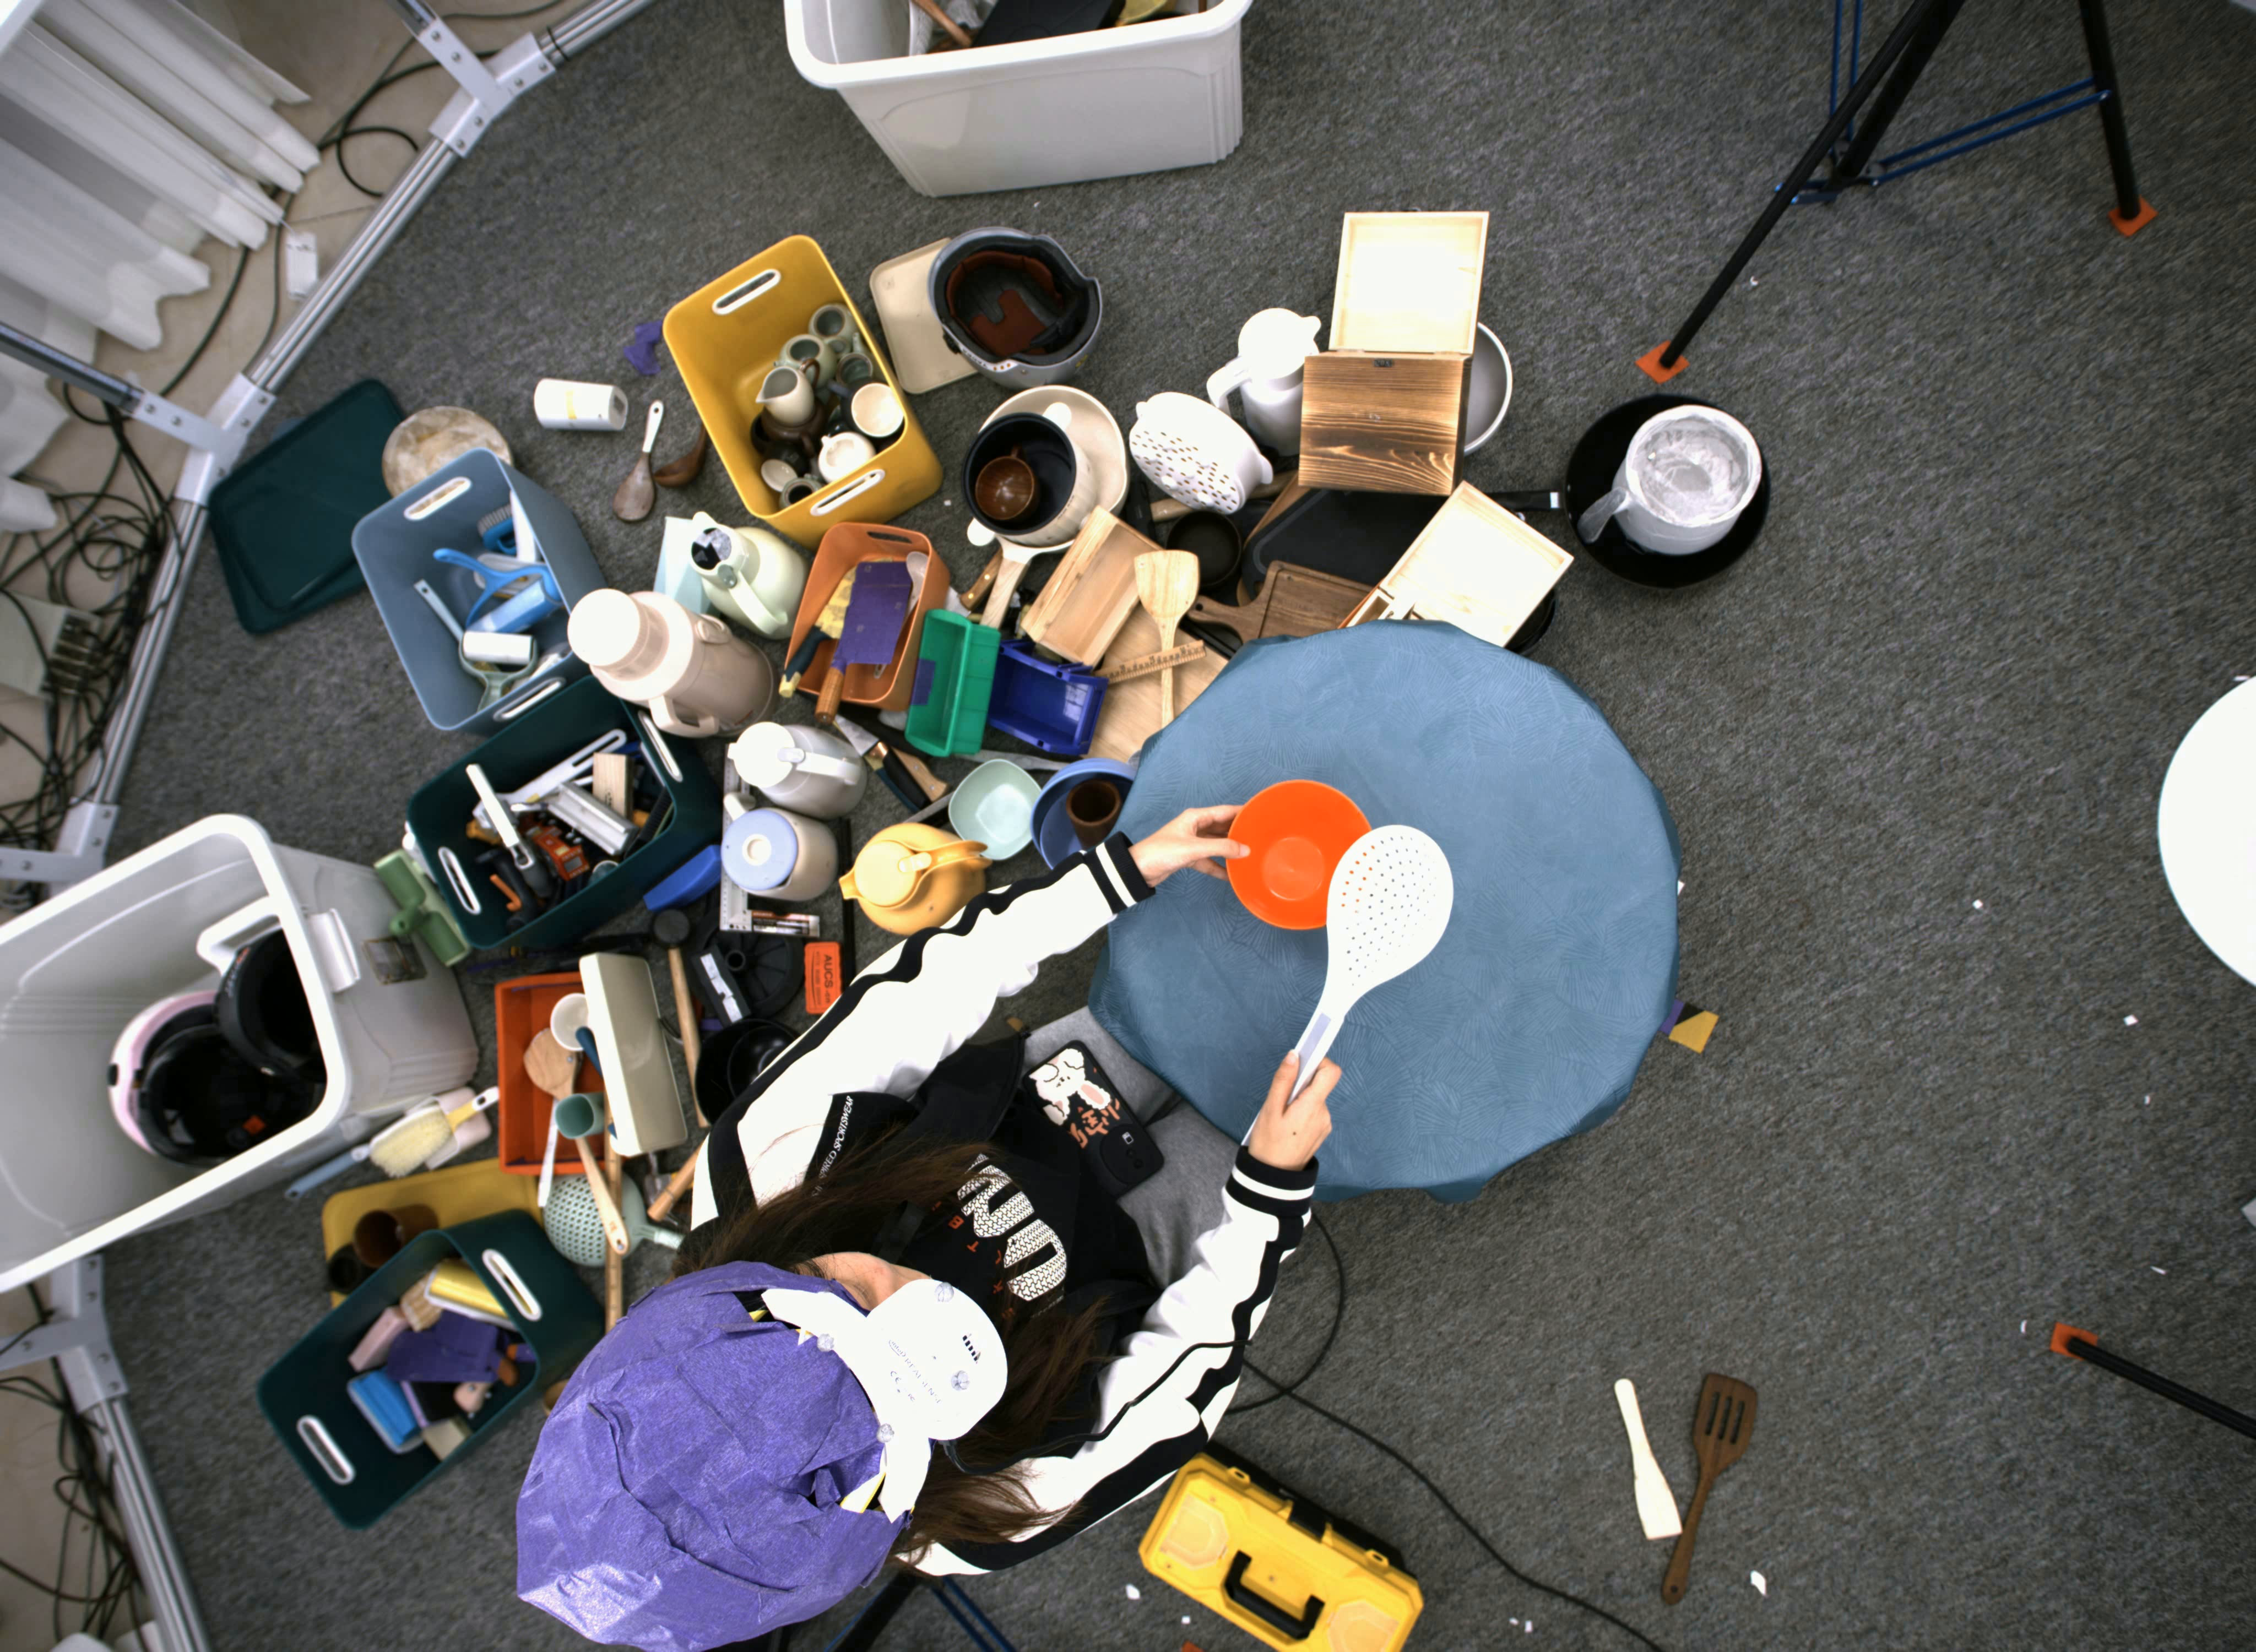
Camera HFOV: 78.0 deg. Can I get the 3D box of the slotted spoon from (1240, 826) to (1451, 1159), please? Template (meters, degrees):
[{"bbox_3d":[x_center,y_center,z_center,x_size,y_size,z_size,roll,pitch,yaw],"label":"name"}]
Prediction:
[{"bbox_3d":[0.195,0.161,1.295,0.134,0.046,0.353,40,105,44],"label":"slotted spoon"}]

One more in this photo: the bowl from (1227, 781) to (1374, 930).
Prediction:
[{"bbox_3d":[0.173,0.031,1.404,0.148,0.104,0.148,0,90,4],"label":"bowl"}]
